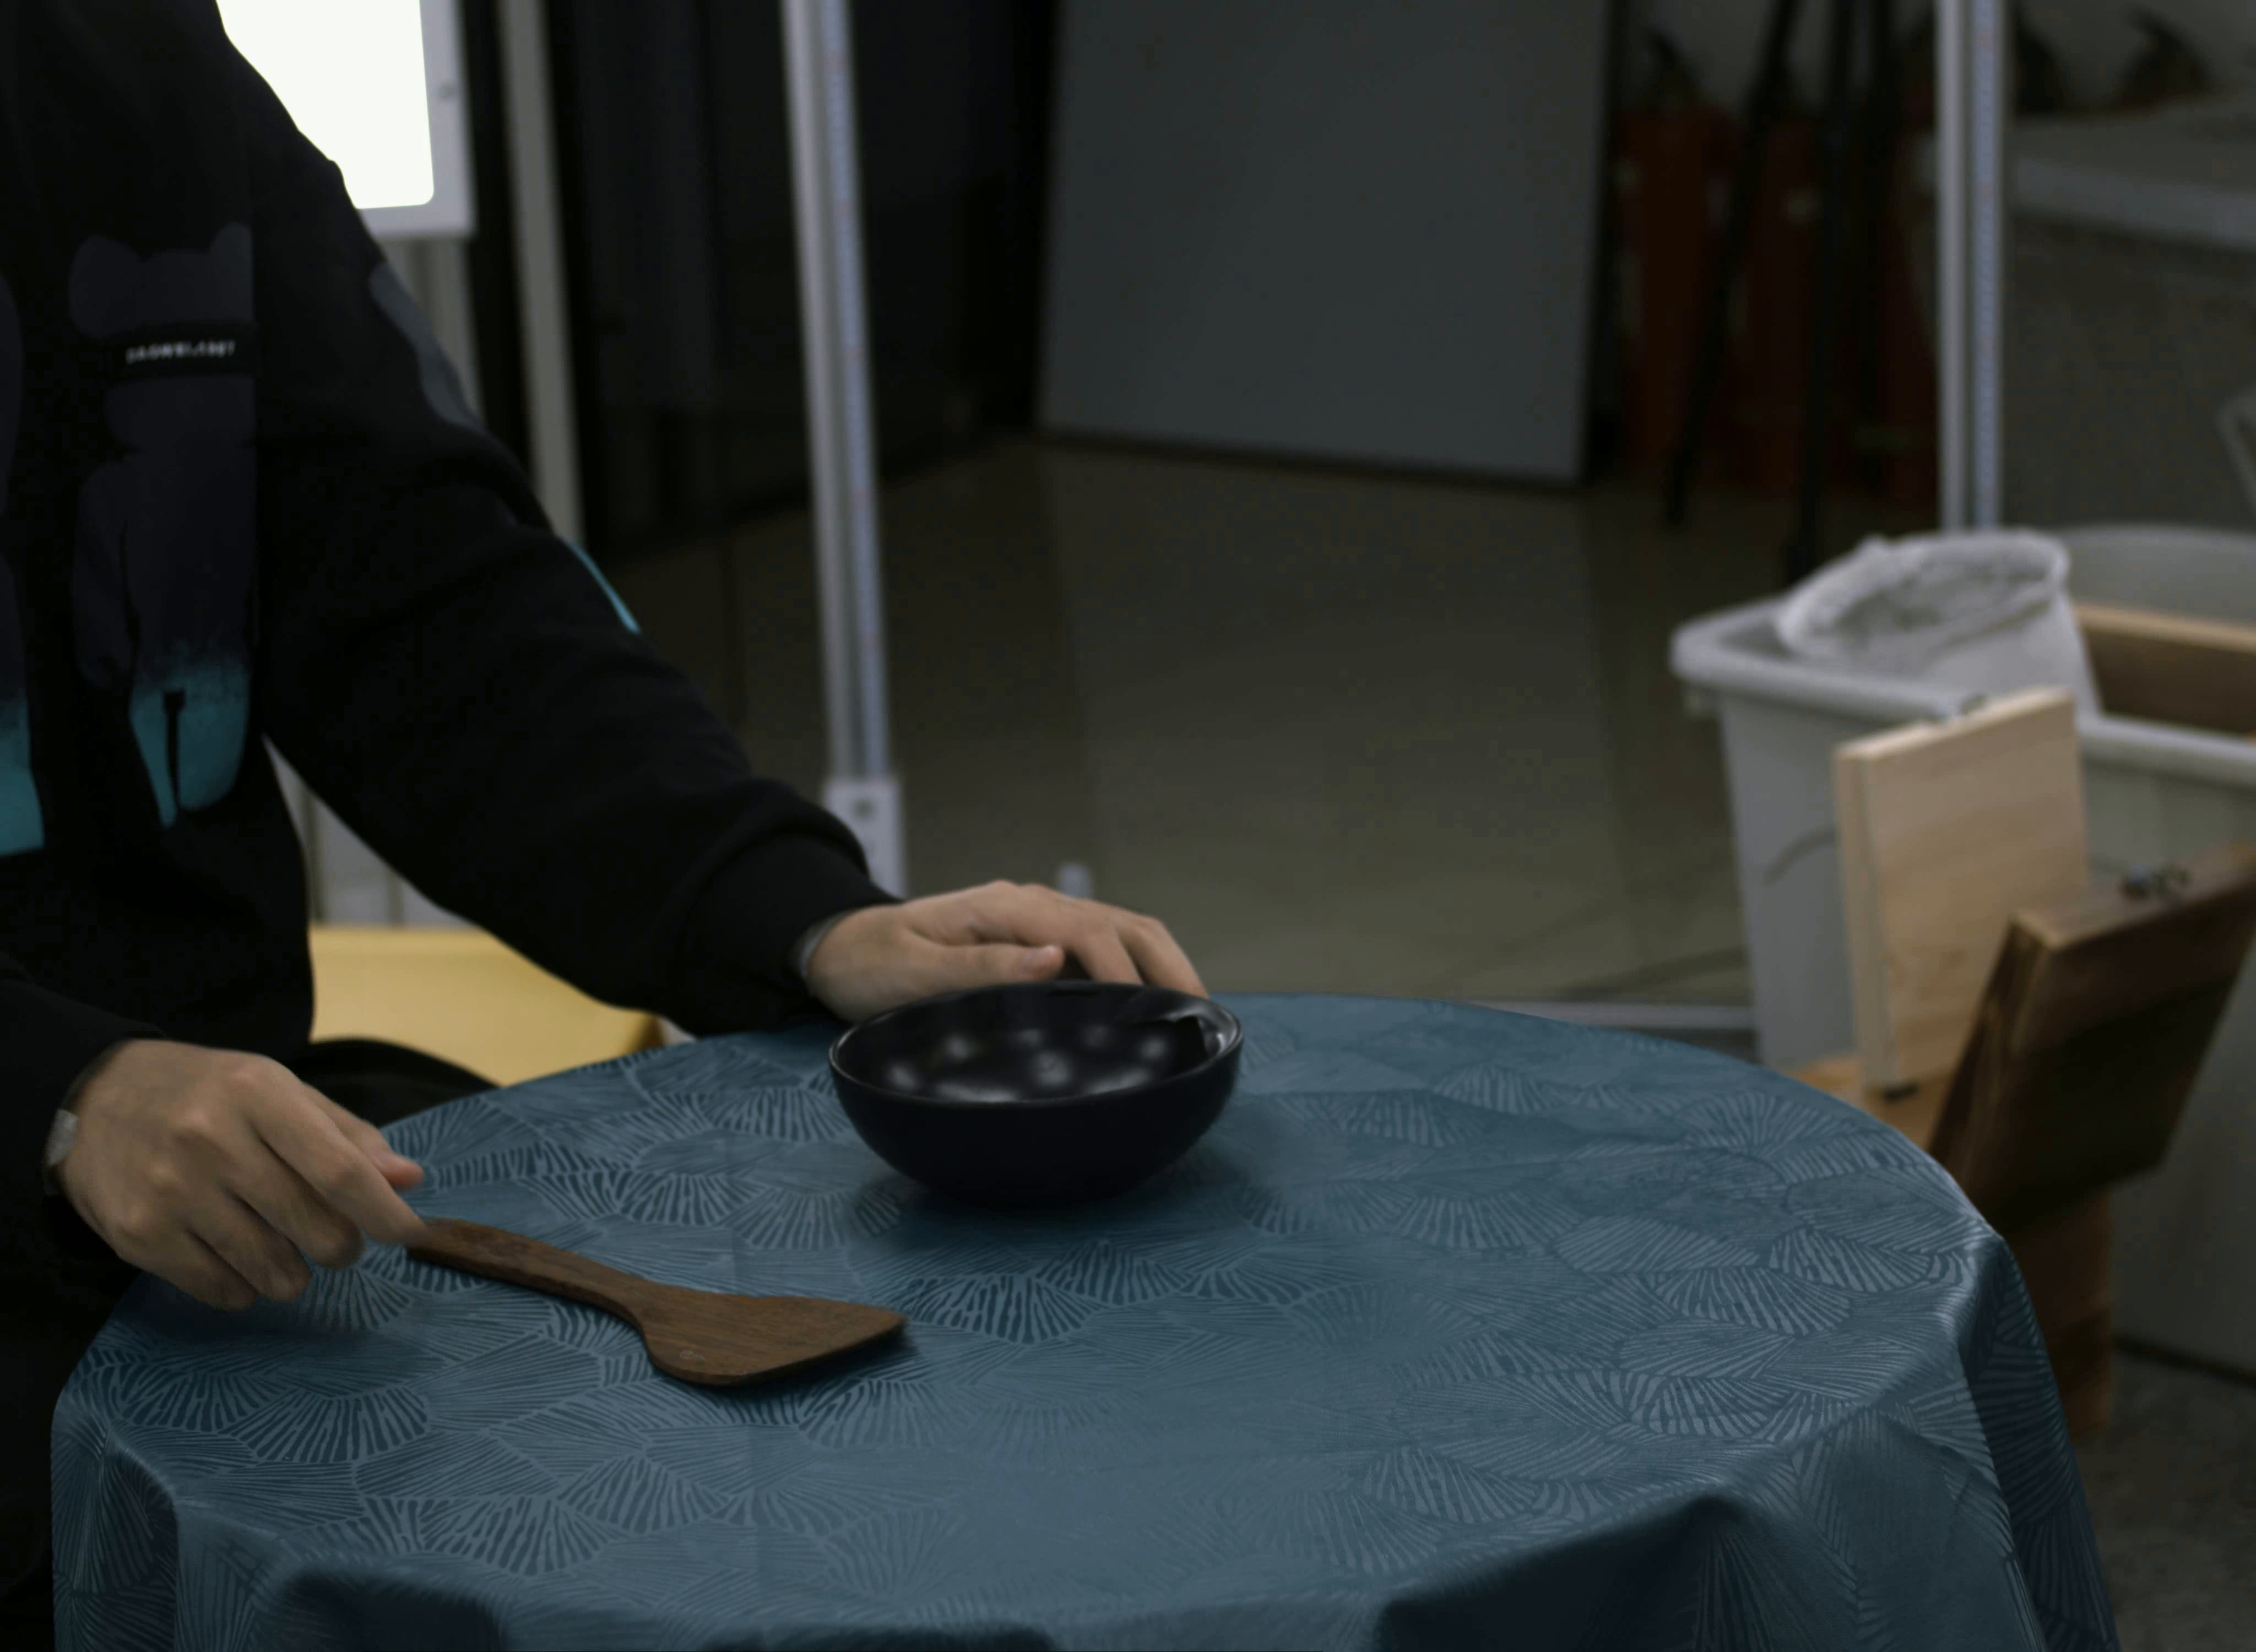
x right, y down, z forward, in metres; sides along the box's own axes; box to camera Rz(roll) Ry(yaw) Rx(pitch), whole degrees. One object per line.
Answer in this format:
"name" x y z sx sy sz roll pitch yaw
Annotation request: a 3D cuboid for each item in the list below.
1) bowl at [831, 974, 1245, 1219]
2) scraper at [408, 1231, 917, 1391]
"bowl" -0.028 0.094 1.785 0.138 0.050 0.140 -5 16 1
"scraper" -0.155 0.149 1.689 0.074 0.011 0.213 -15 17 -41
